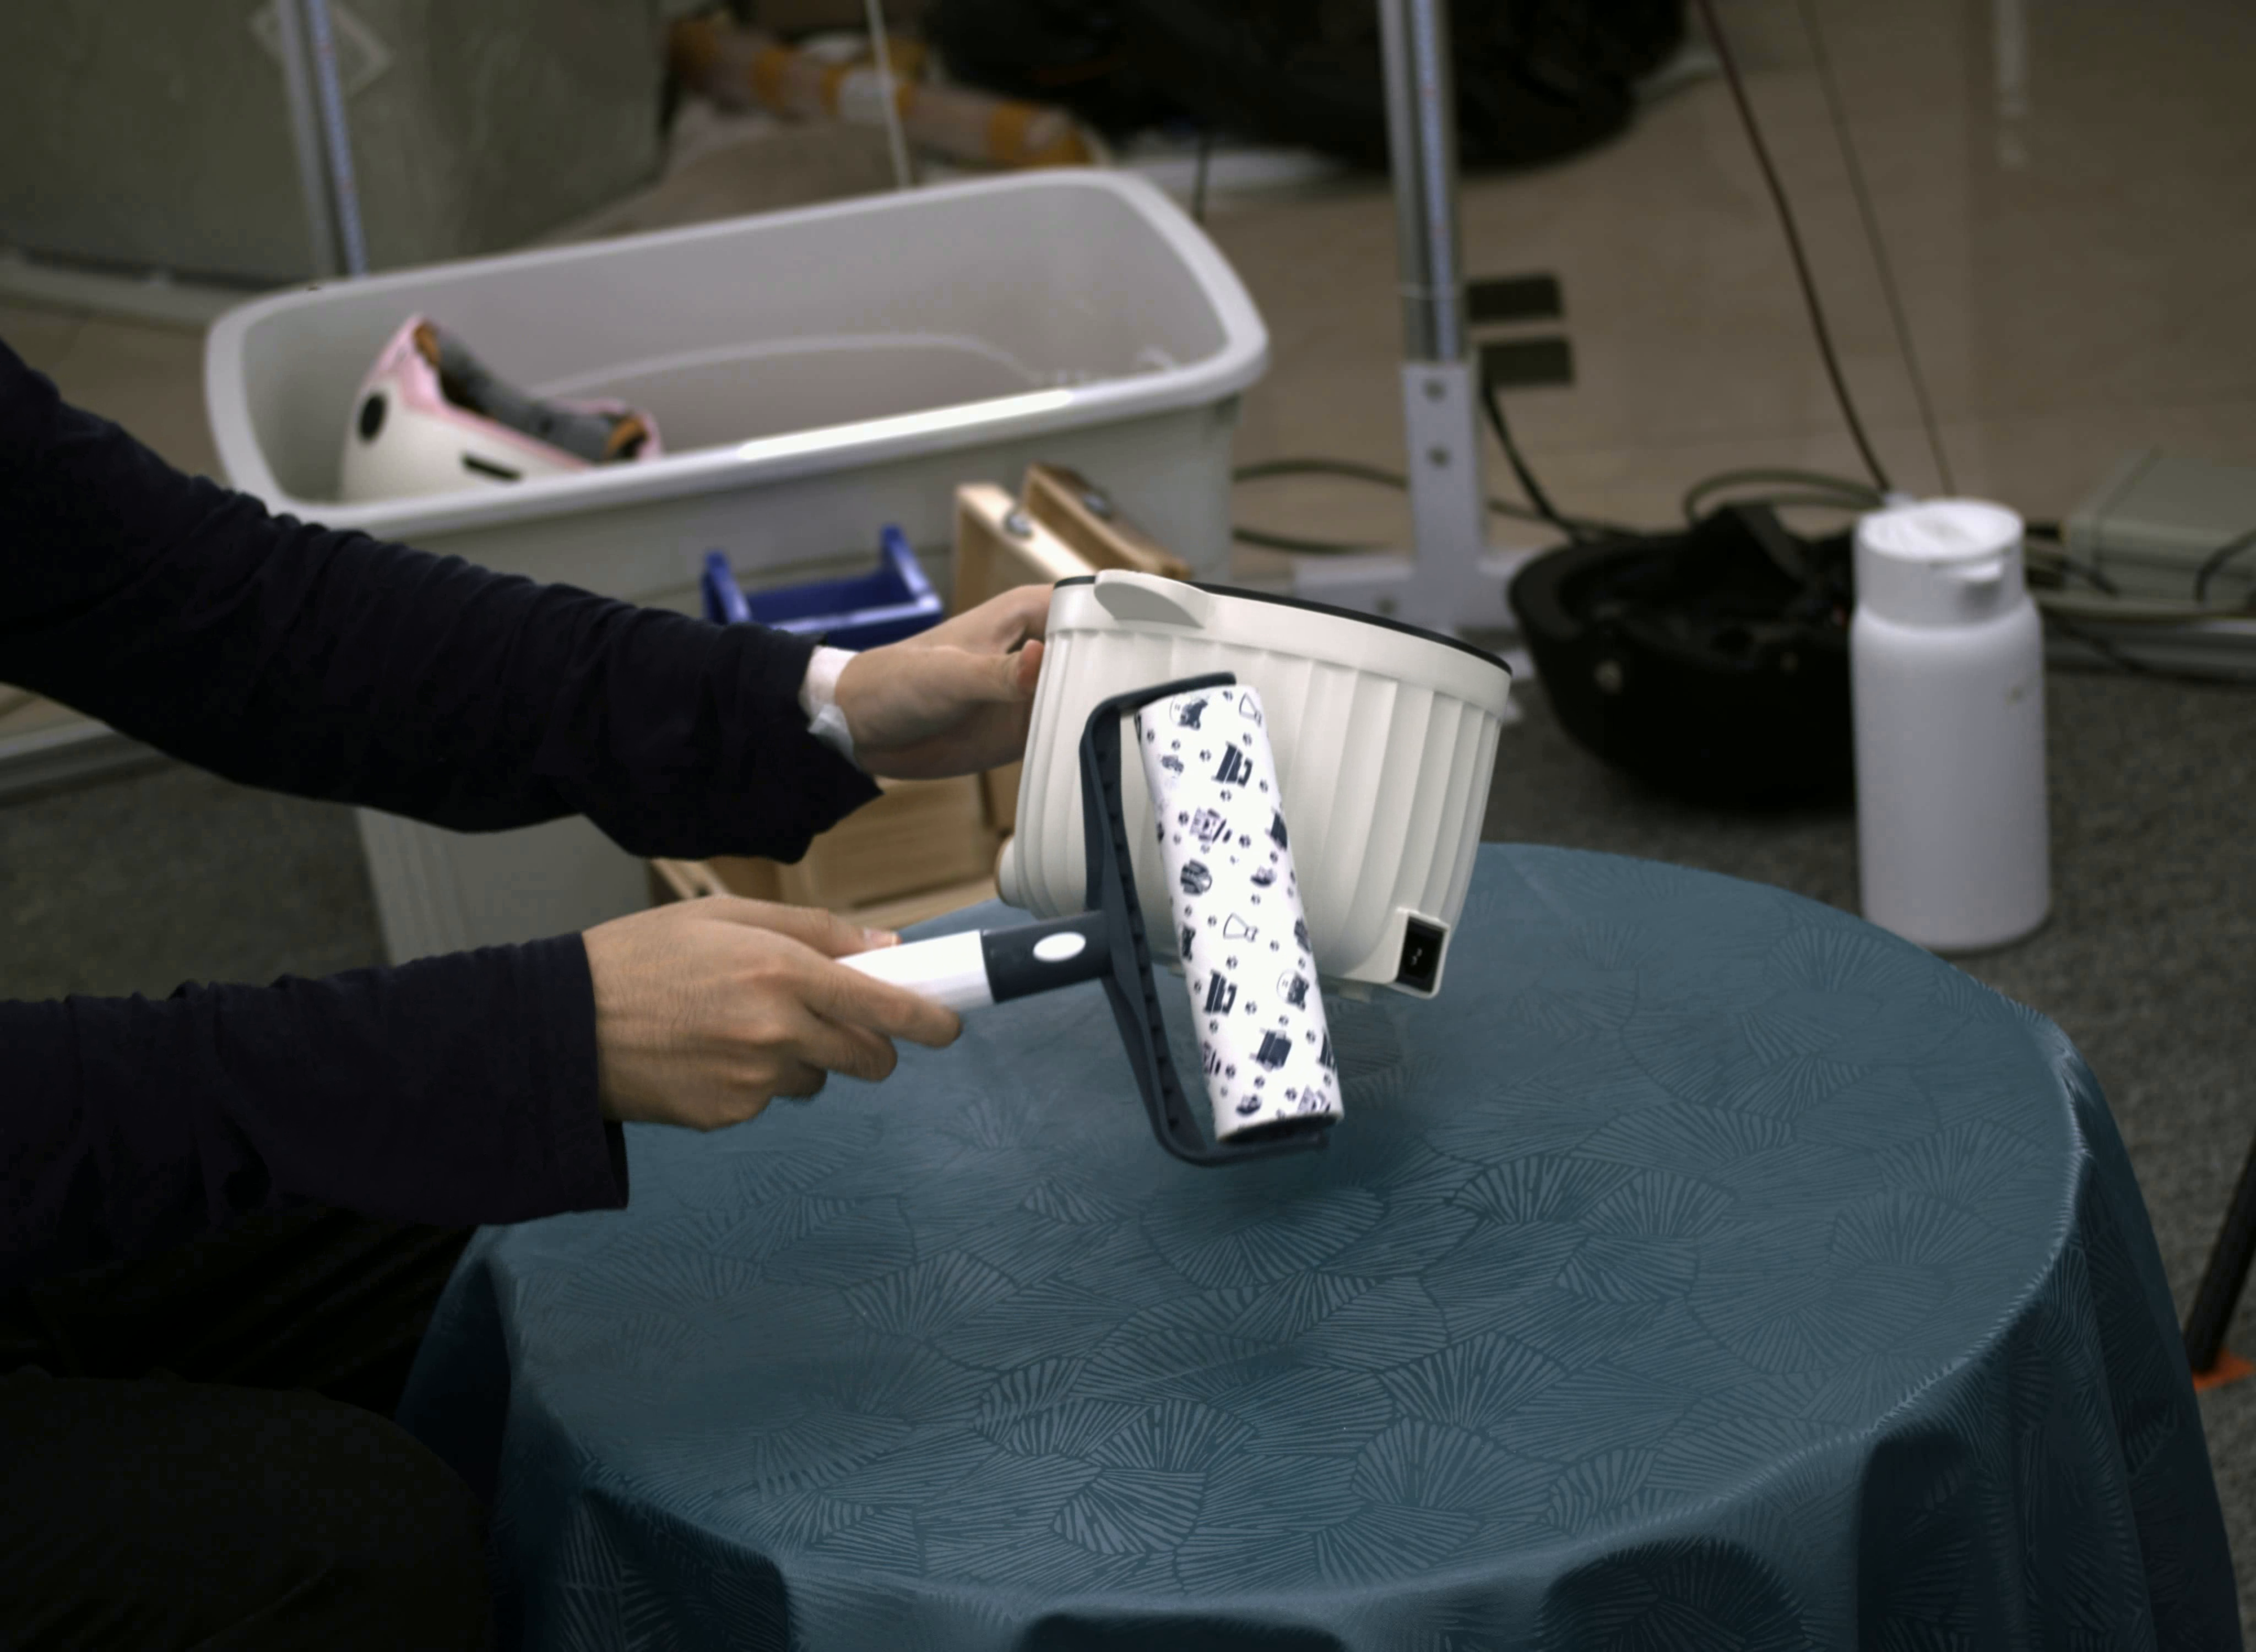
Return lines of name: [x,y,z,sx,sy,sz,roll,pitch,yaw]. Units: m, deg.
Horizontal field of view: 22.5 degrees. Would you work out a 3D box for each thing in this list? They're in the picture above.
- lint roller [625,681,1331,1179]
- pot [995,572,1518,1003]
lint roller: [-0.062,0.058,2.039,0.247,0.175,0.050,-12,-10,2]
pot: [0.043,-0.012,2.178,0.189,0.142,0.242,11,-5,32]
